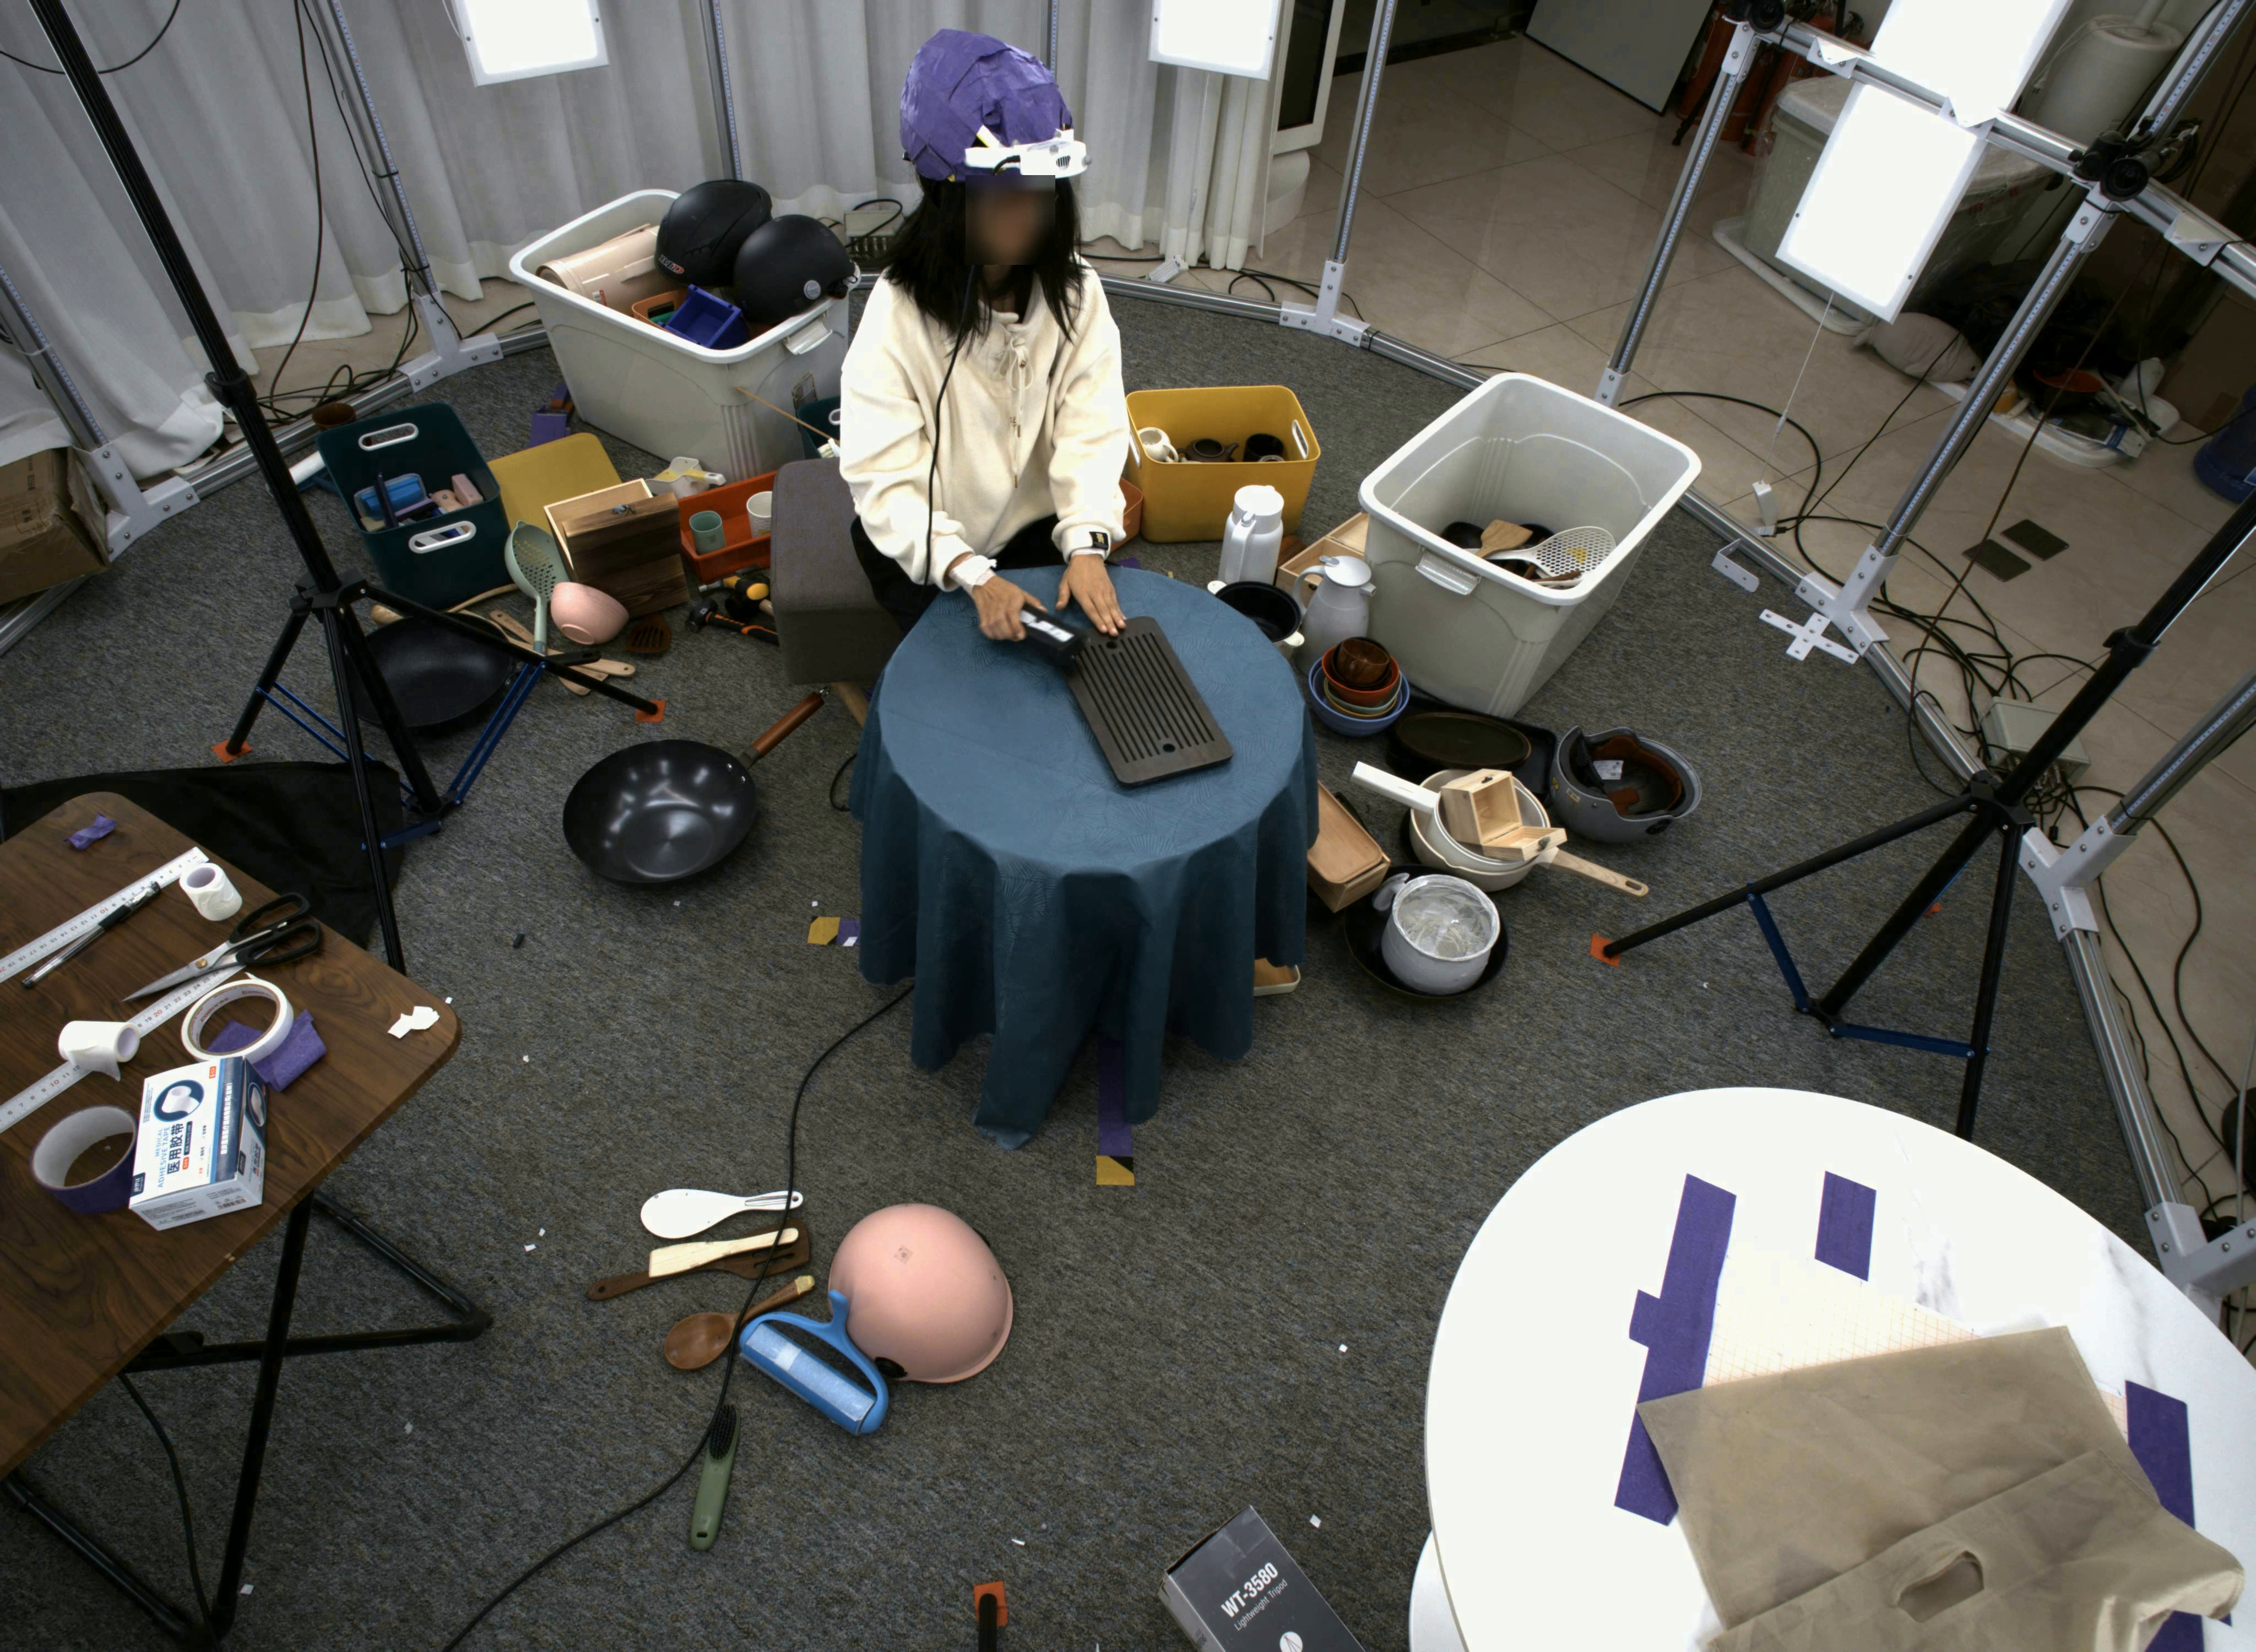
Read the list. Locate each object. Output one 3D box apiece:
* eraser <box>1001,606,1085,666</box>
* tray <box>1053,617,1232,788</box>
[{"bbox_3d":[-0.122,-0.275,1.851,0.127,0.030,0.054,31,59,35],"label":"eraser"},{"bbox_3d":[0.011,-0.179,1.815,0.170,0.018,0.313,-15,52,-16],"label":"tray"}]
